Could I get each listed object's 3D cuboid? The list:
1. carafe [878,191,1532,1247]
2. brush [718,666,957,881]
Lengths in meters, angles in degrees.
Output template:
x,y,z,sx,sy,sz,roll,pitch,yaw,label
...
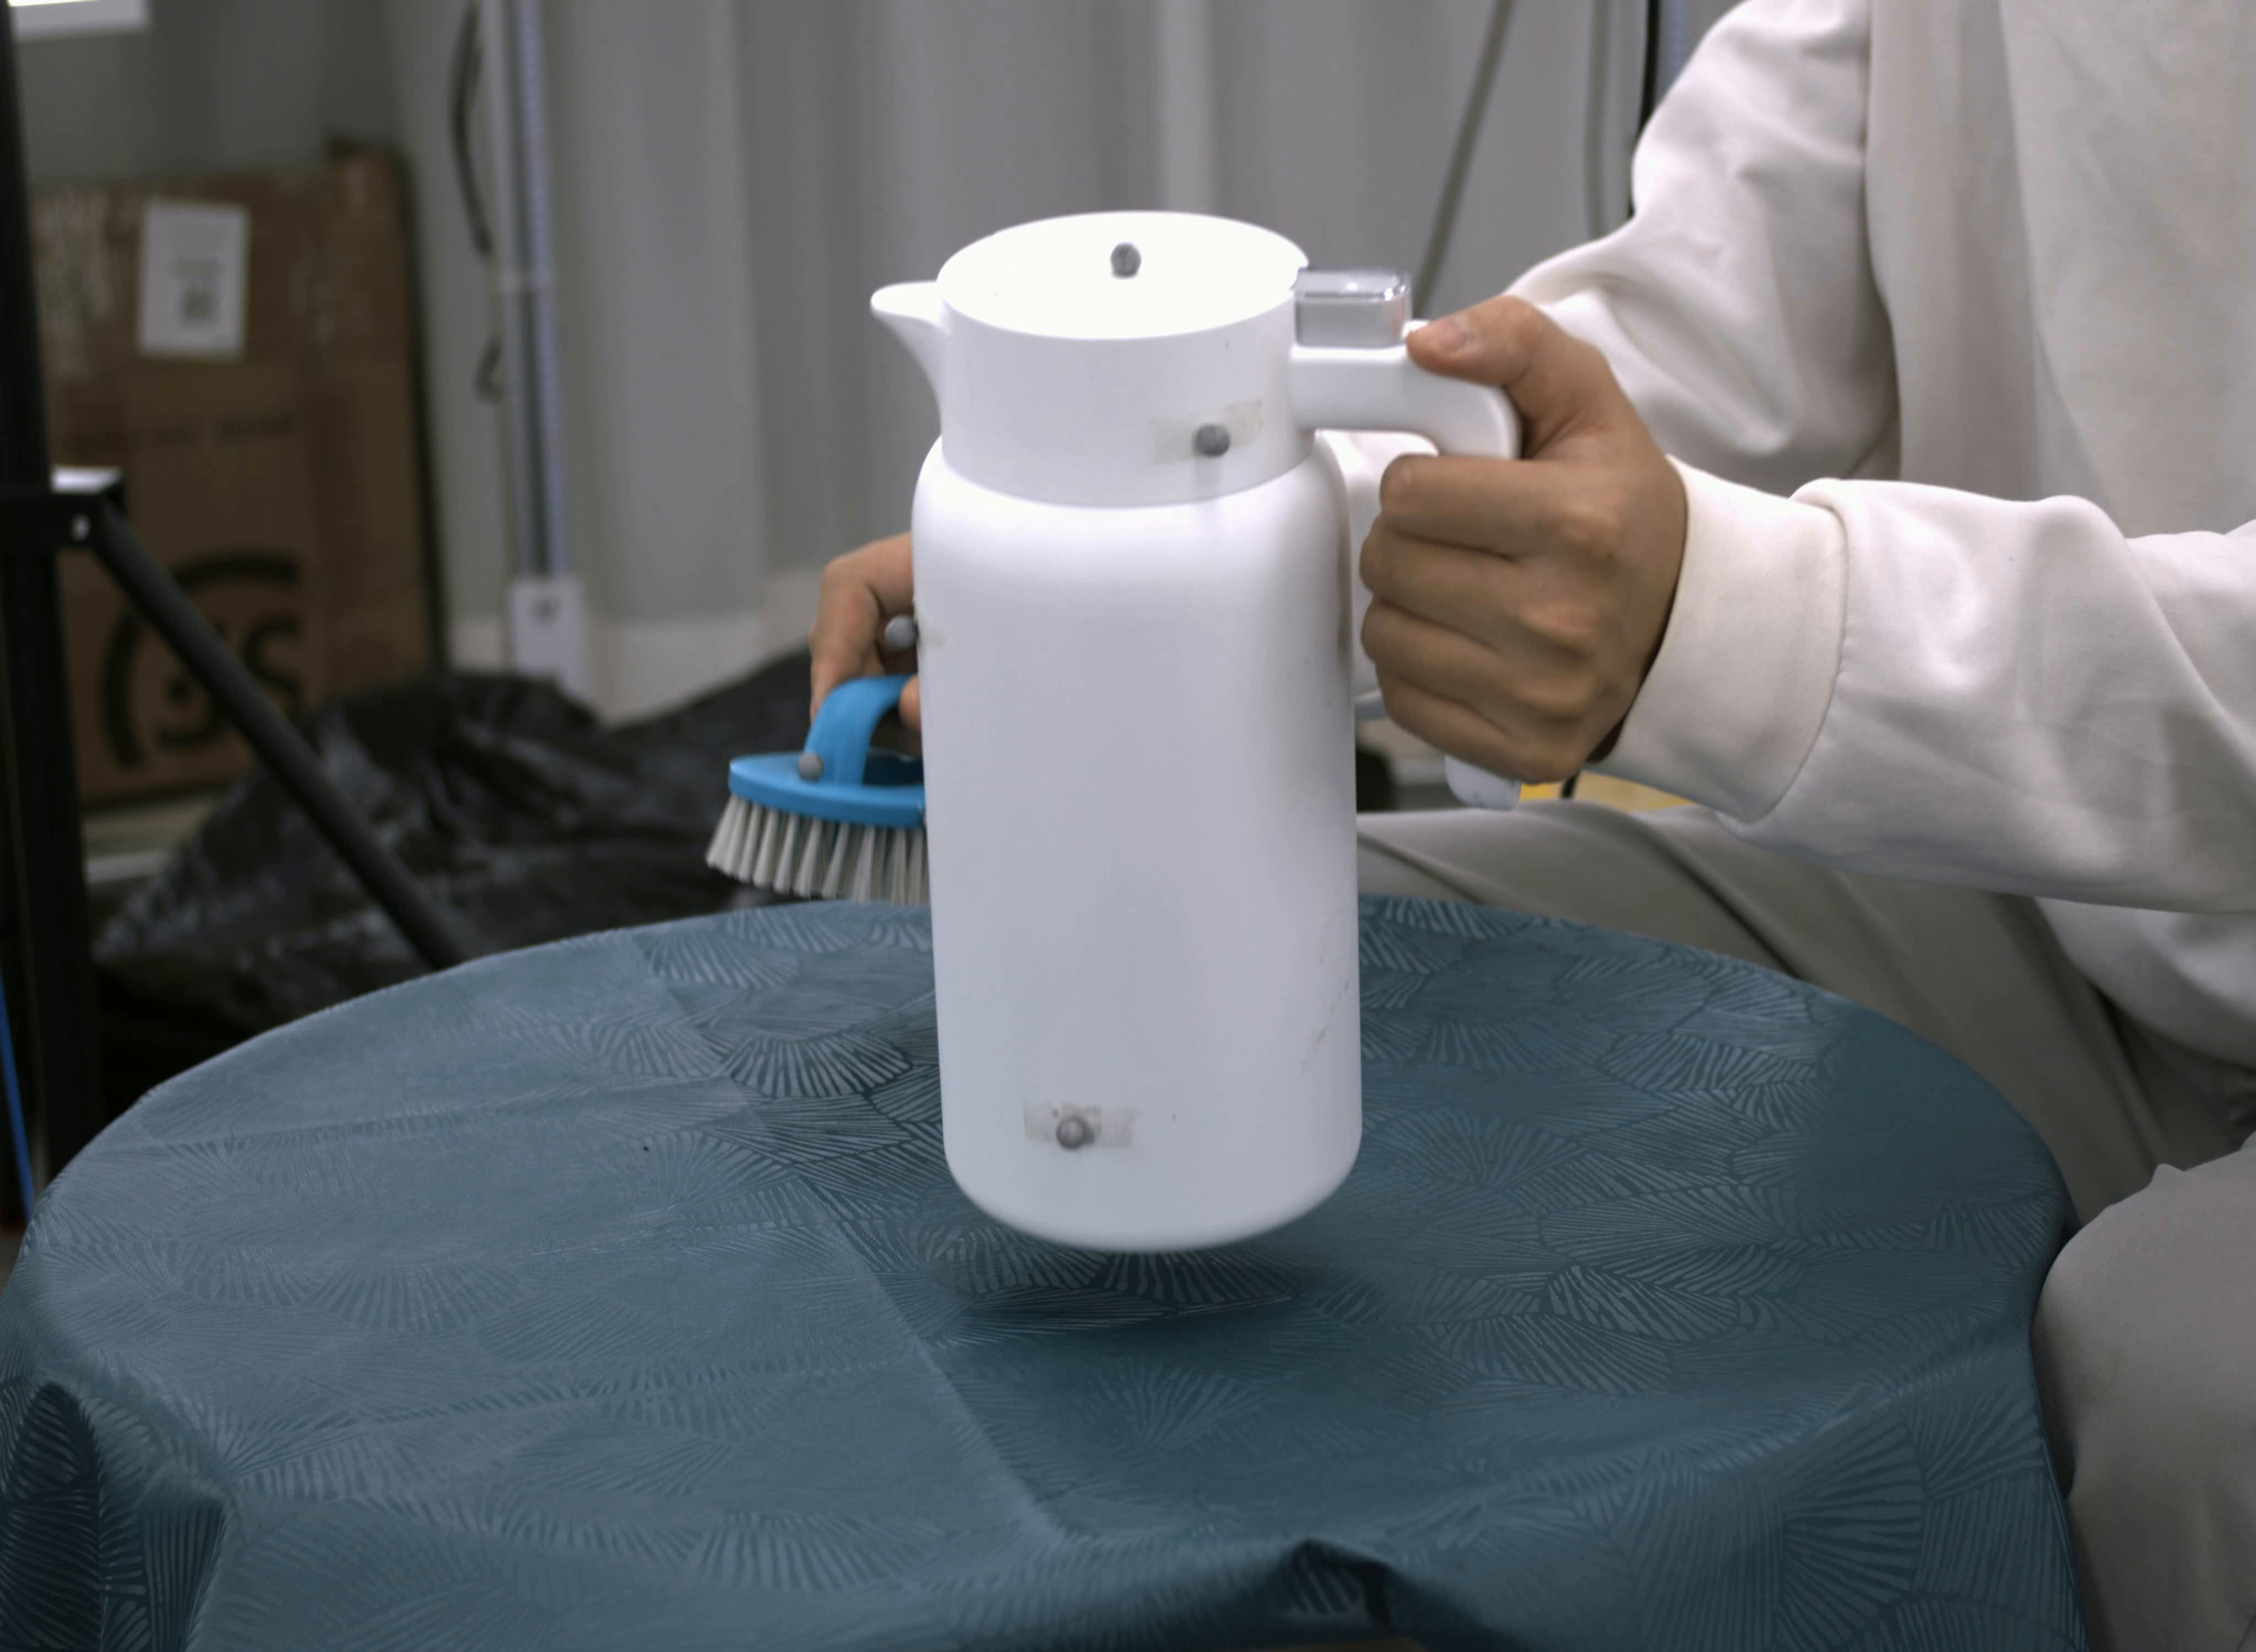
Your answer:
x,y,z,sx,sy,sz,roll,pitch,yaw,label
0.022,-0.027,1.429,0.173,0.268,0.123,3,22,11,carafe
-0.071,-0.018,1.673,0.086,0.064,0.138,8,6,30,brush
